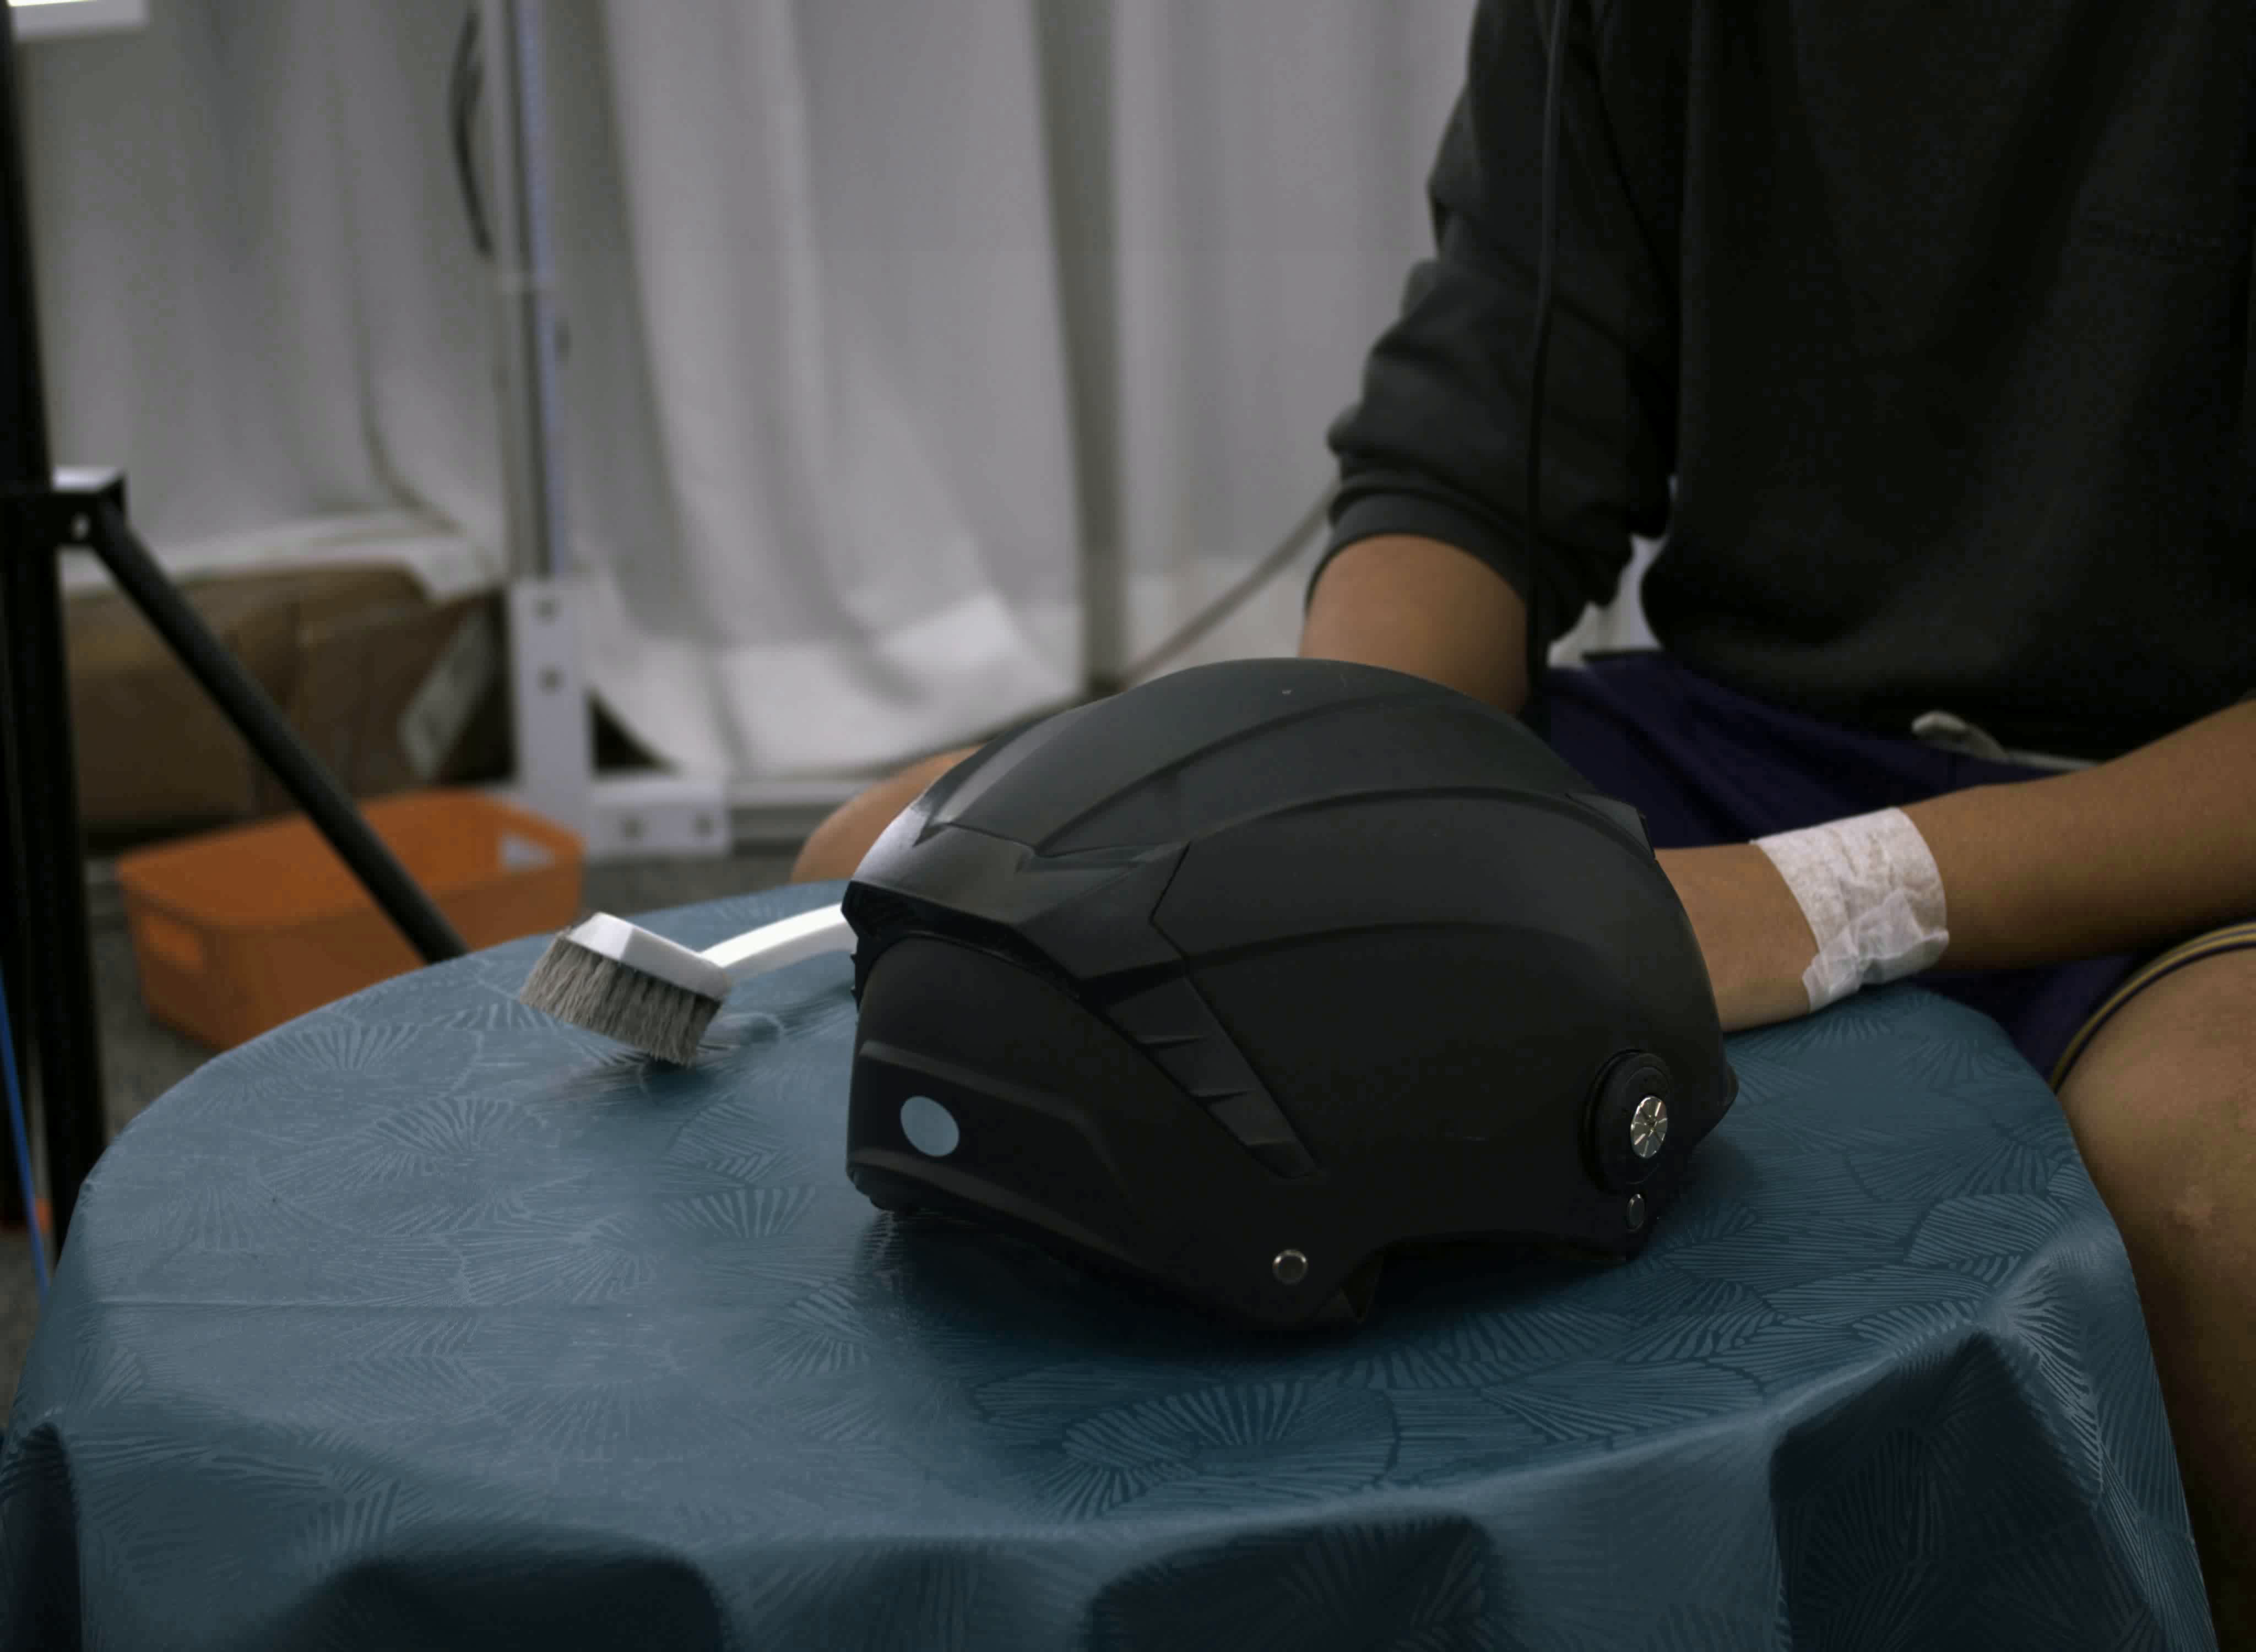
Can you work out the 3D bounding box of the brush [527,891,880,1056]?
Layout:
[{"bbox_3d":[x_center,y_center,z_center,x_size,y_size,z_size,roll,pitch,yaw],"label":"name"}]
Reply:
[{"bbox_3d":[-0.104,0.047,1.753,0.035,0.050,0.237,18,11,36],"label":"brush"}]

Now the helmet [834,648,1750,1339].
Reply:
[{"bbox_3d":[0.047,0.035,1.517,0.270,0.172,0.252,-17,21,-37],"label":"helmet"}]
